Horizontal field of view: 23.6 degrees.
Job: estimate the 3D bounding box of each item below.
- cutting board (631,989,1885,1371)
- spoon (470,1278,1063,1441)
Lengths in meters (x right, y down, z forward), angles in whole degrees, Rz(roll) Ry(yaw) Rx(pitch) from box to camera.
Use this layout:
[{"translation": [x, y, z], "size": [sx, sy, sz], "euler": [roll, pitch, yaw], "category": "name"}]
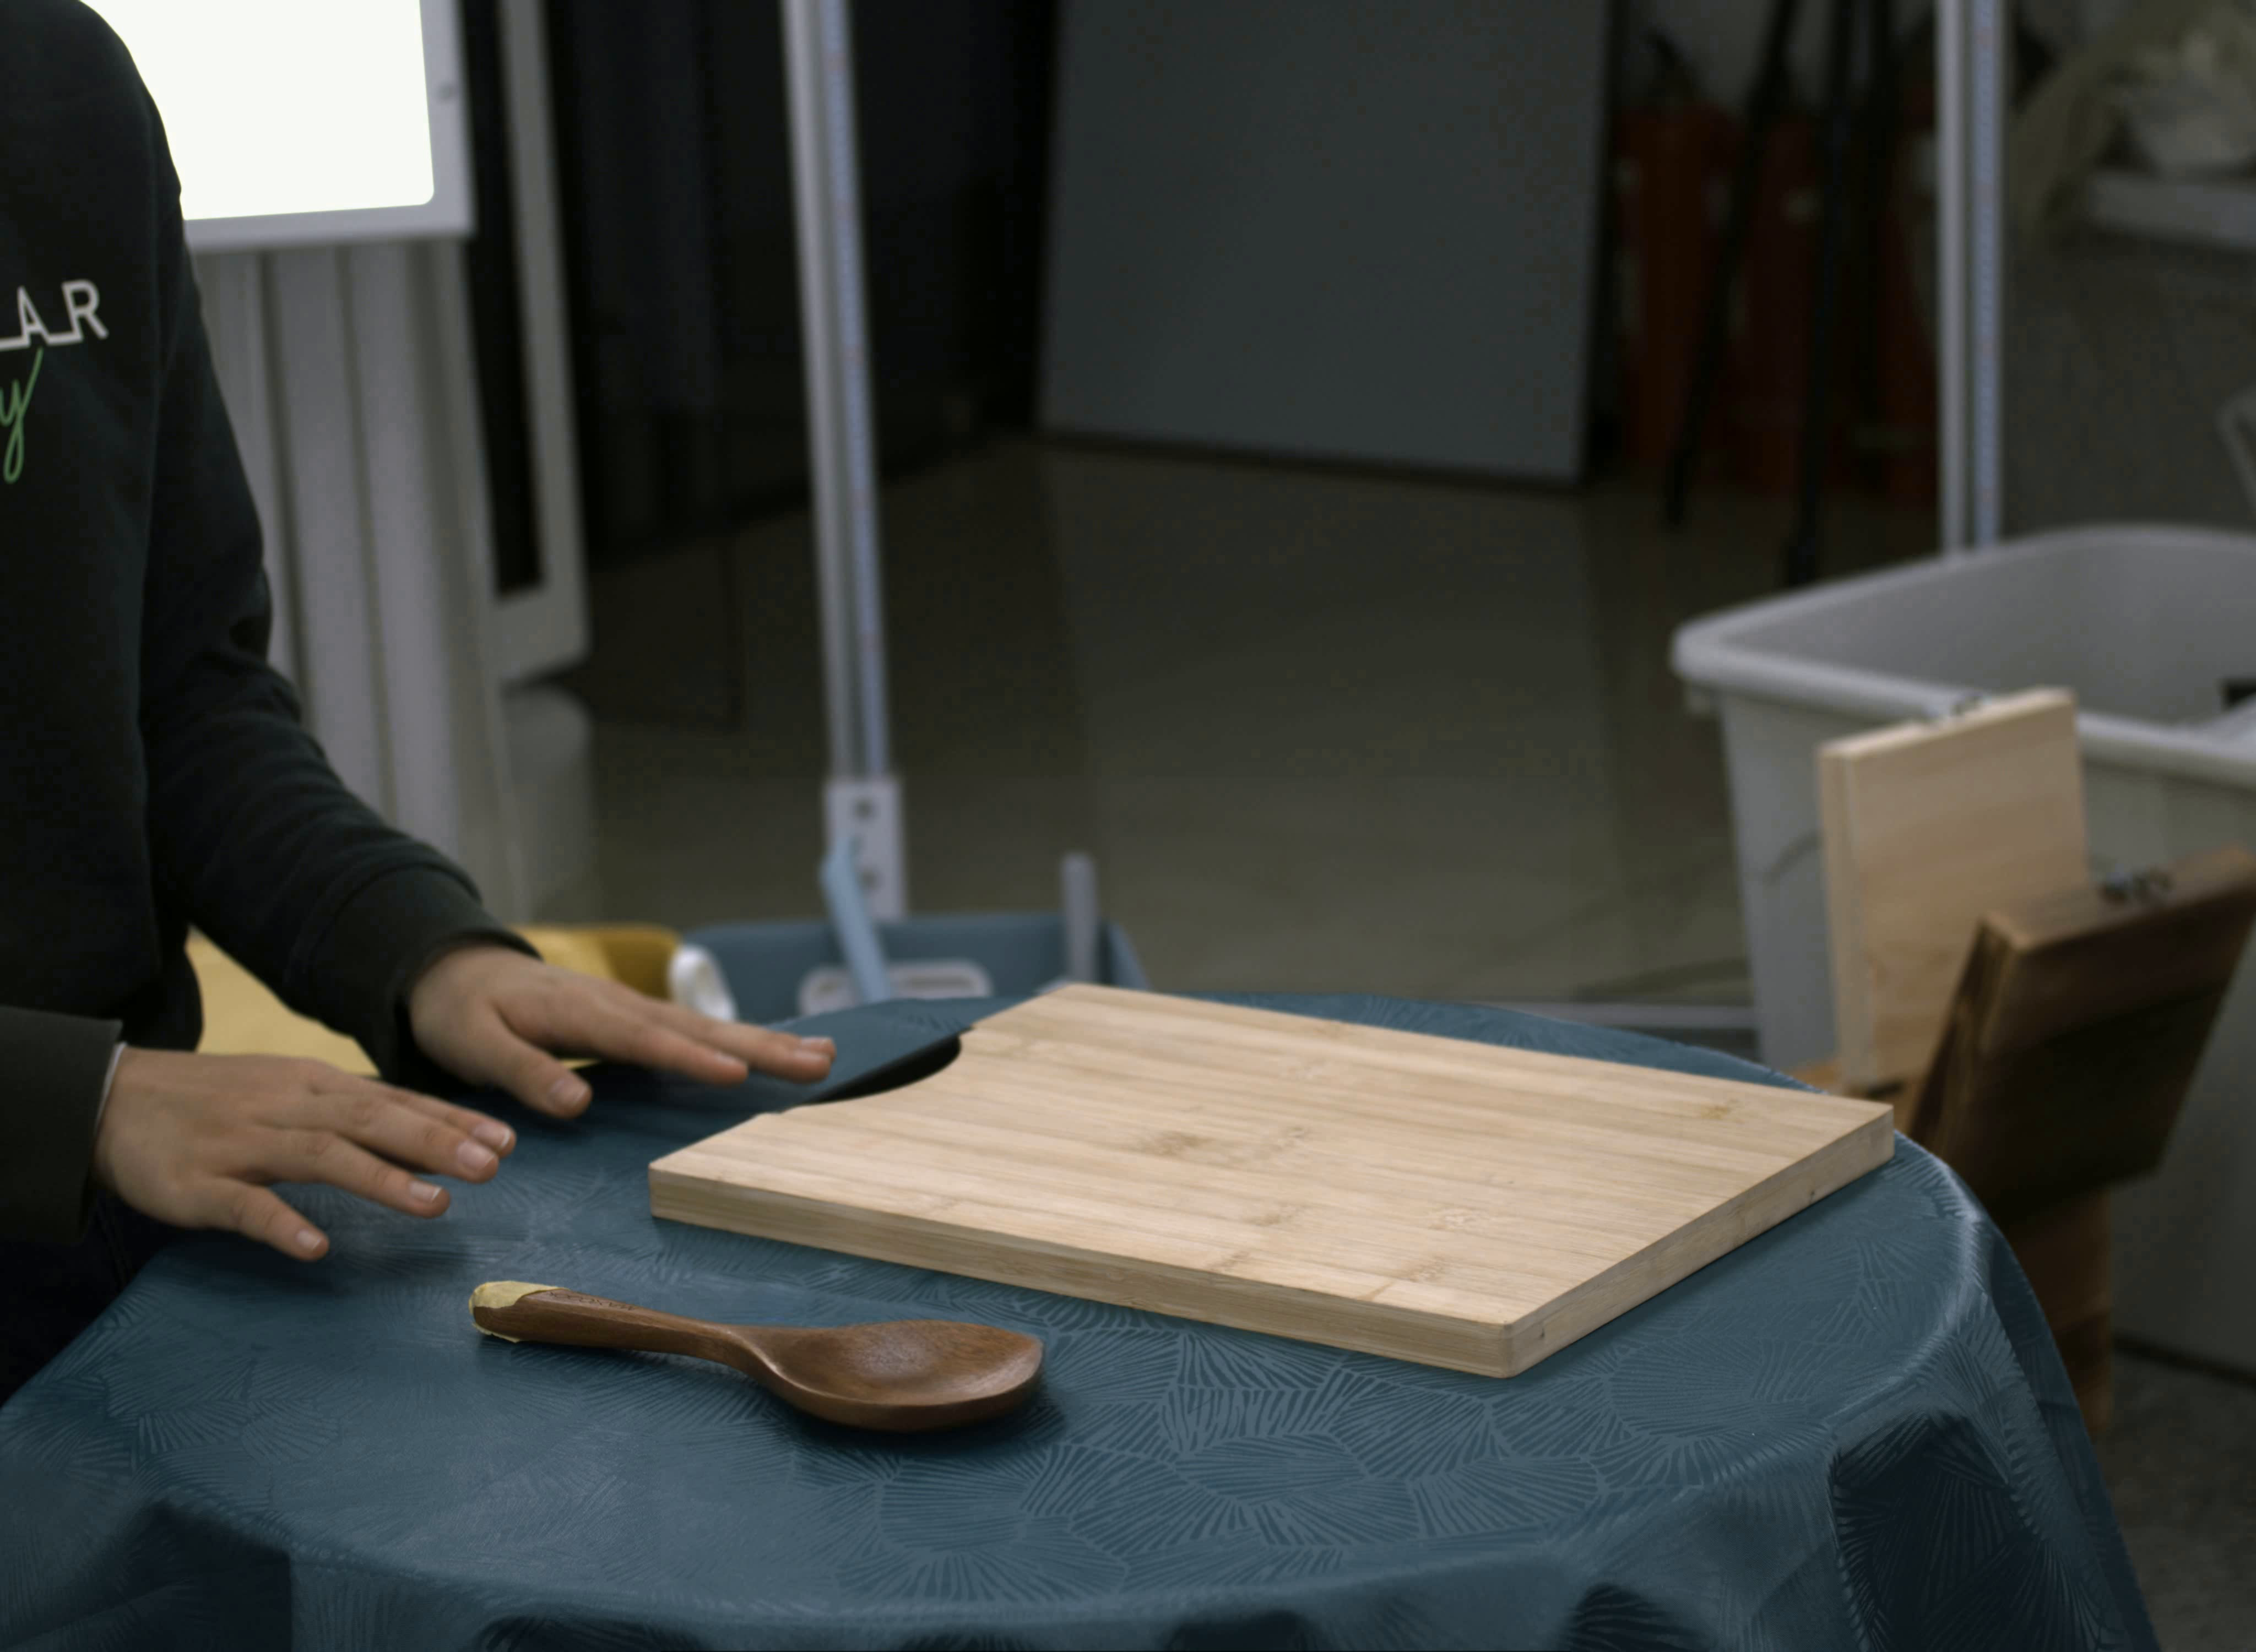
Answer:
[{"translation": [0.042, 0.111, 1.769], "size": [0.351, 0.024, 0.246], "euler": [6, 17, 36], "category": "cutting board"}, {"translation": [-0.112, 0.158, 1.618], "size": [0.217, 0.017, 0.074], "euler": [7, 19, 35], "category": "spoon"}]
